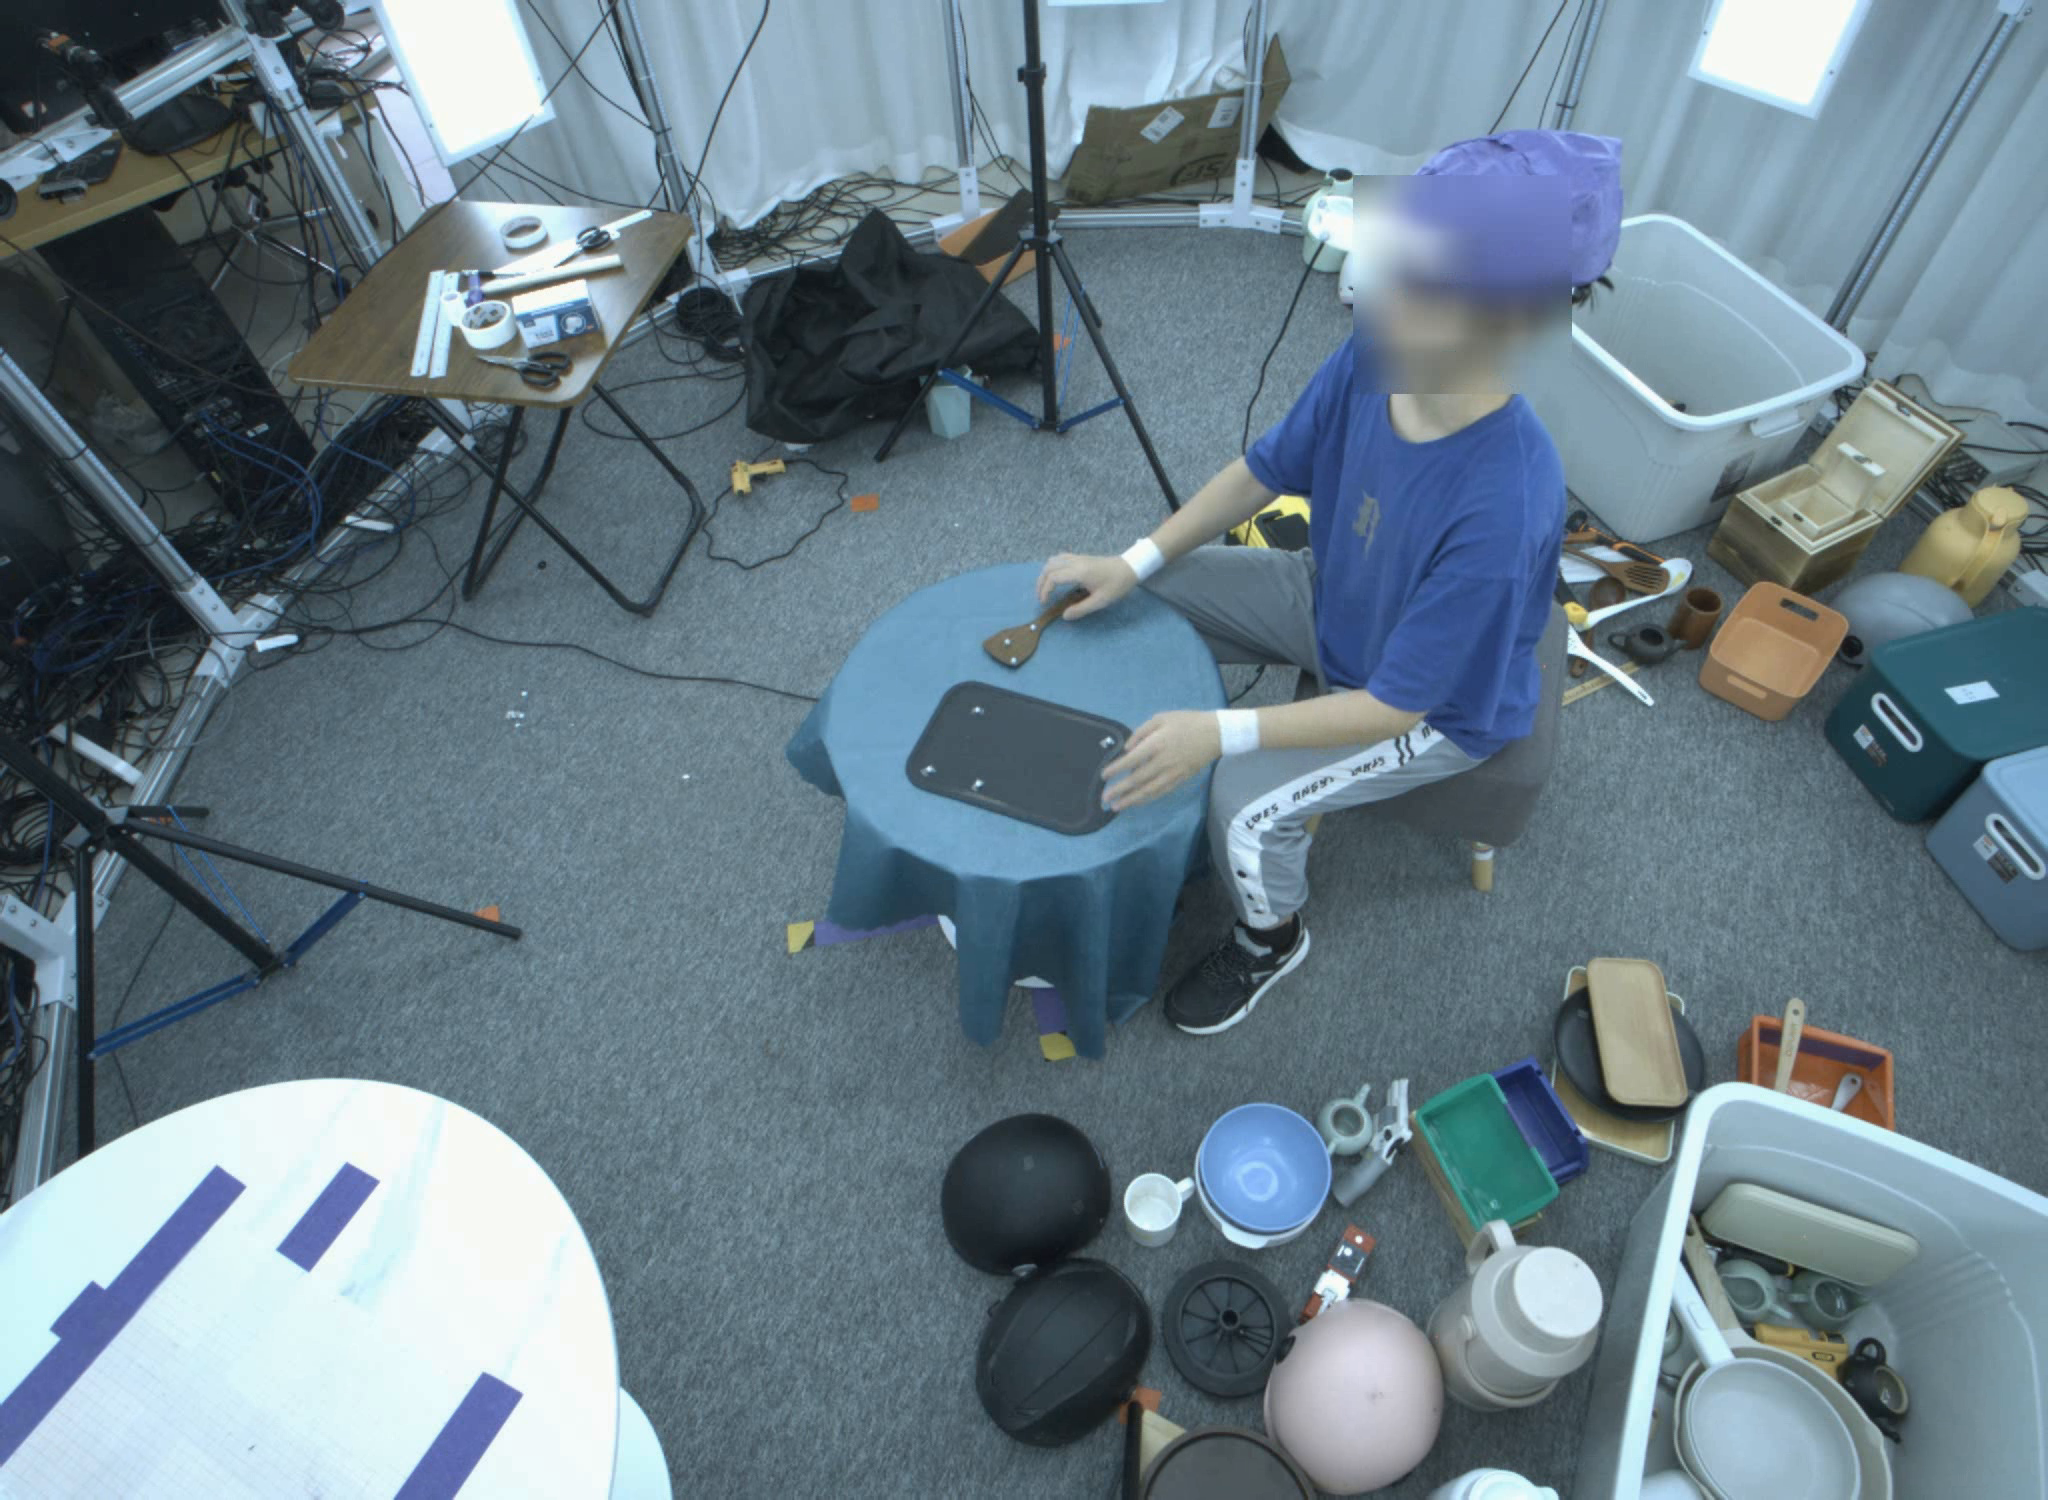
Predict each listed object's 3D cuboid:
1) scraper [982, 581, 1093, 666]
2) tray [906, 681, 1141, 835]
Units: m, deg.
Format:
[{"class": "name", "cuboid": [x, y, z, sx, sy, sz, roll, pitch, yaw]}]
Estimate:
[{"class": "scraper", "cuboid": [0.029, -0.202, 1.916, 0.074, 0.011, 0.213, 38, 63, 24]}, {"class": "tray", "cuboid": [0.006, 0.008, 1.767, 0.322, 0.010, 0.211, 17, 57, 14]}]
